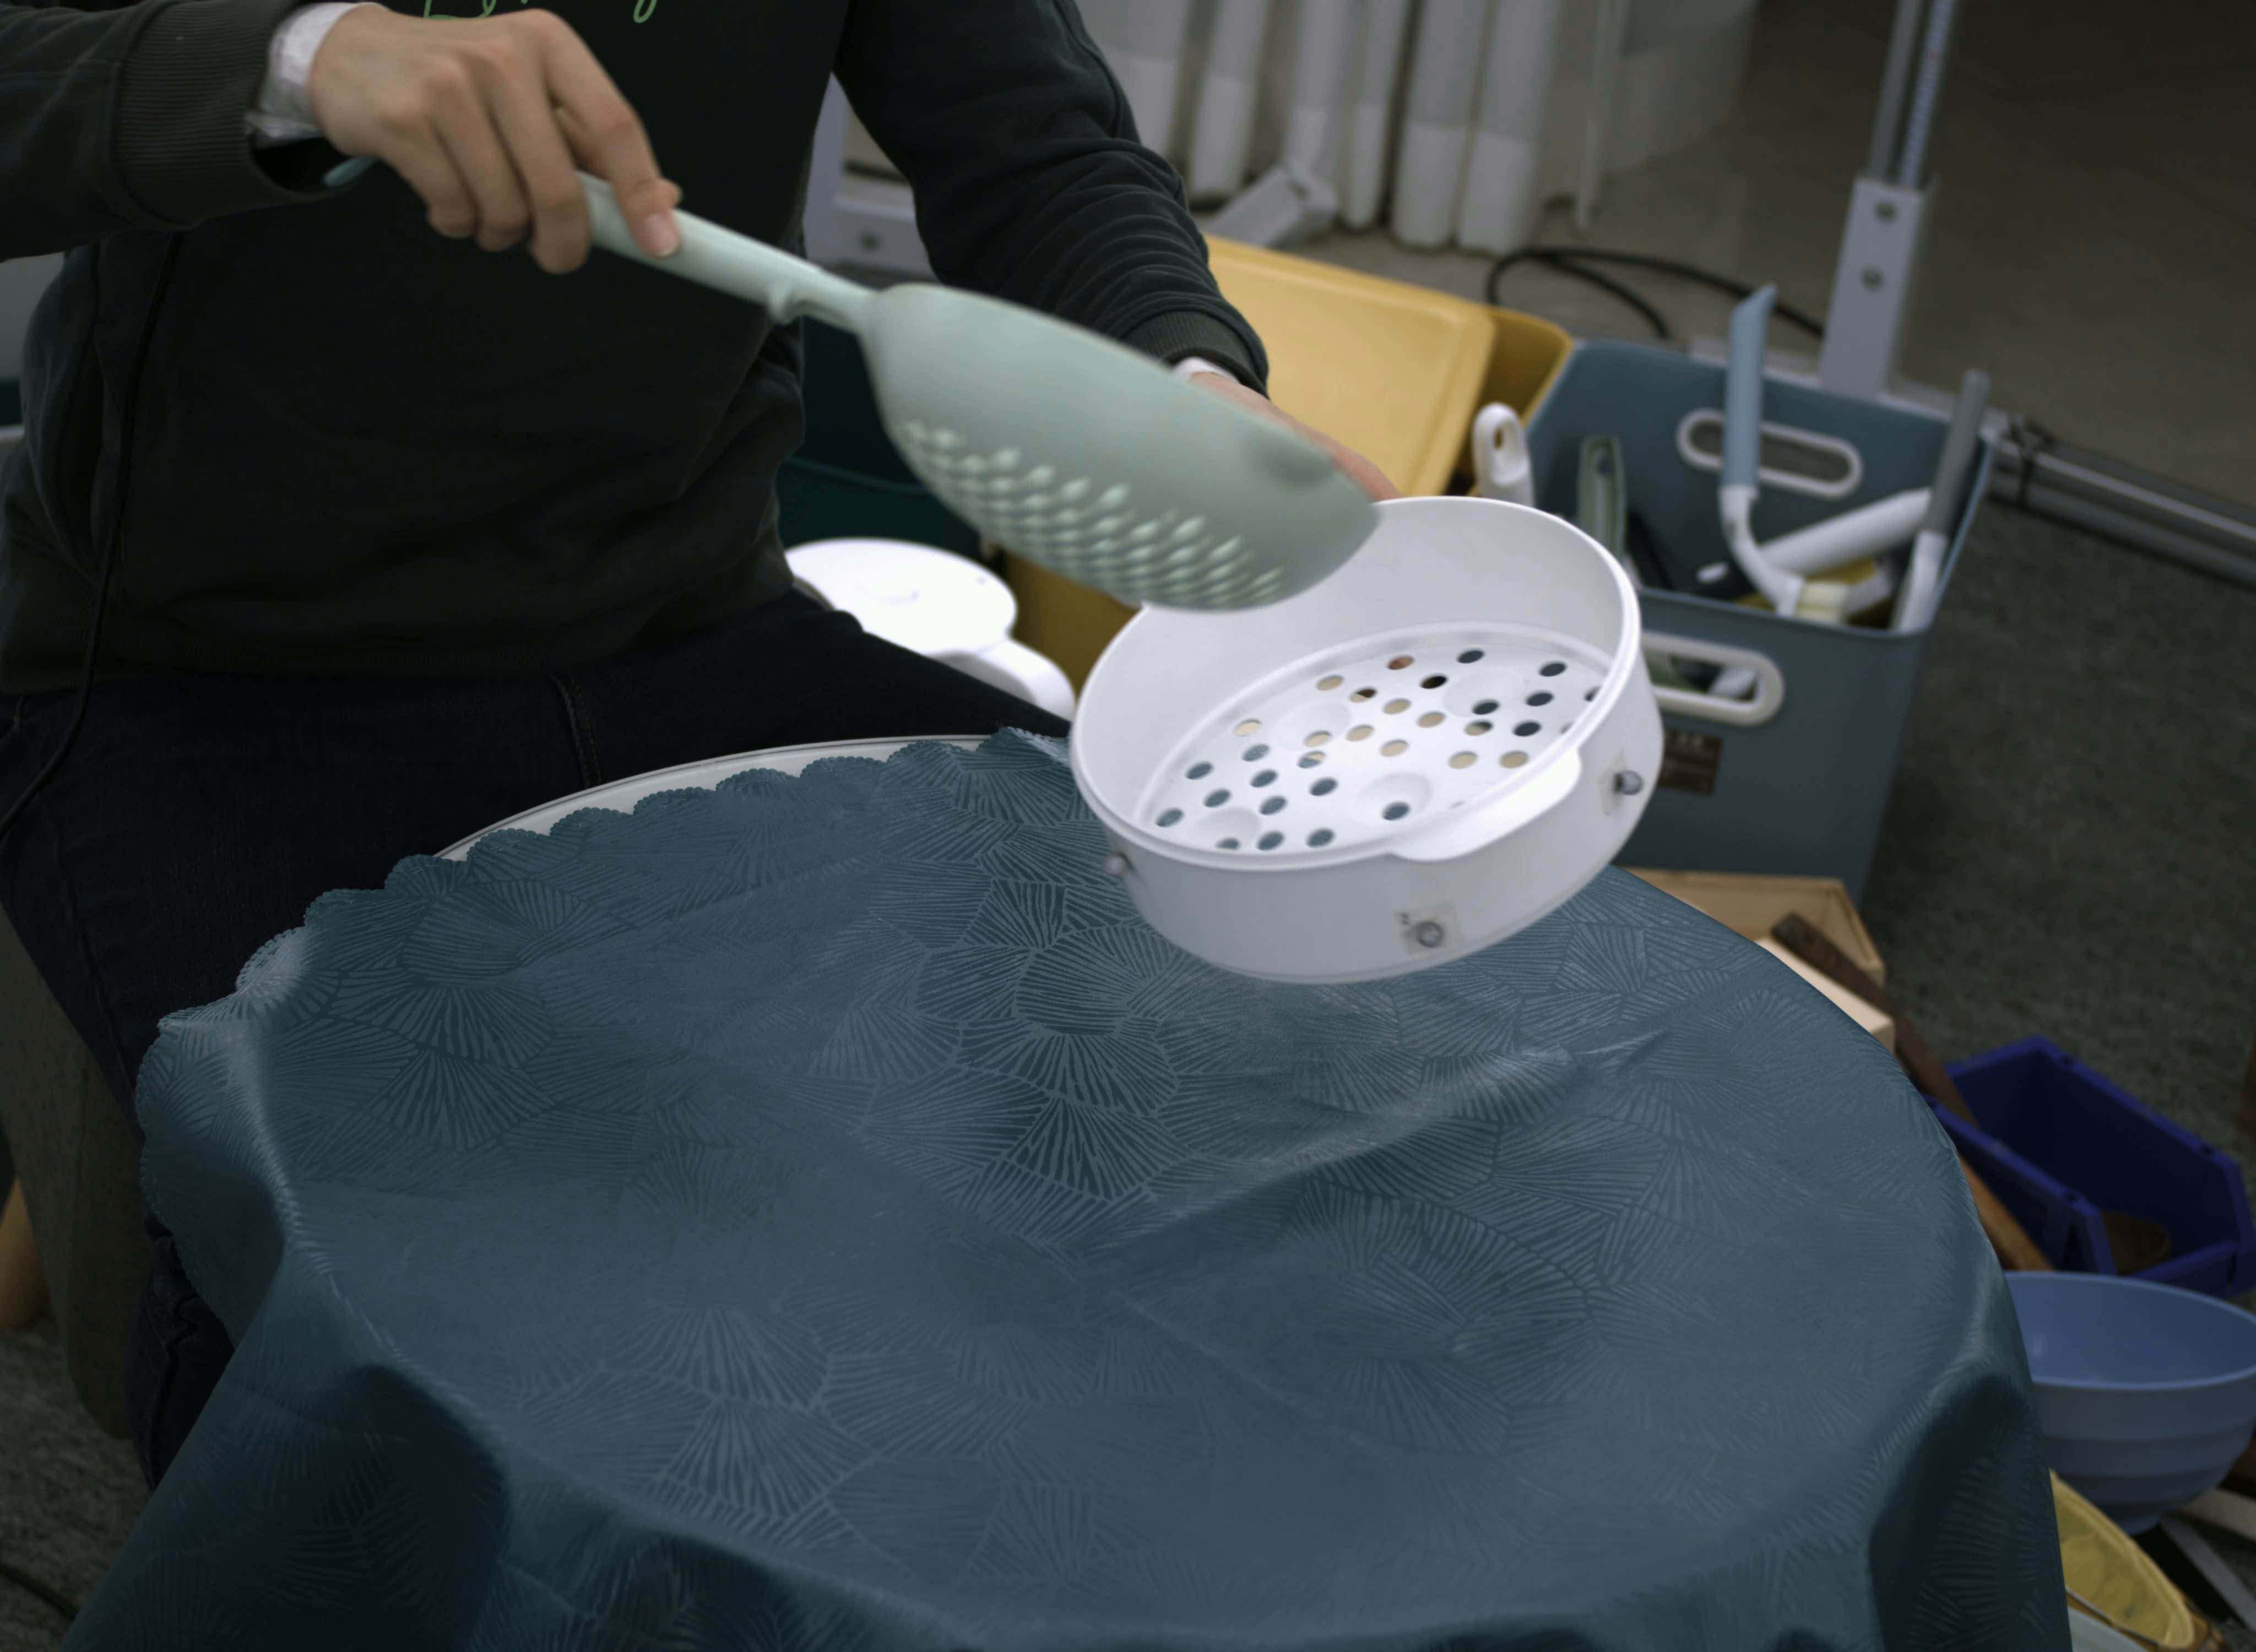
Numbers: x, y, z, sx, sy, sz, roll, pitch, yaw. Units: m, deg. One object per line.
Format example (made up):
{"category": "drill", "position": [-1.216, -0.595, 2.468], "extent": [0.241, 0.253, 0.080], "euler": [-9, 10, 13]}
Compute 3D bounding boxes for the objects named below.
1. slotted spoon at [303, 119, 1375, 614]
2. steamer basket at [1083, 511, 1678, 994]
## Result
{"category": "slotted spoon", "position": [-0.094, -0.157, 1.675], "extent": [0.359, 0.075, 0.168], "euler": [31, -6, 11]}
{"category": "steamer basket", "position": [0.089, -0.024, 1.820], "extent": [0.201, 0.069, 0.232], "euler": [-28, 35, -13]}
